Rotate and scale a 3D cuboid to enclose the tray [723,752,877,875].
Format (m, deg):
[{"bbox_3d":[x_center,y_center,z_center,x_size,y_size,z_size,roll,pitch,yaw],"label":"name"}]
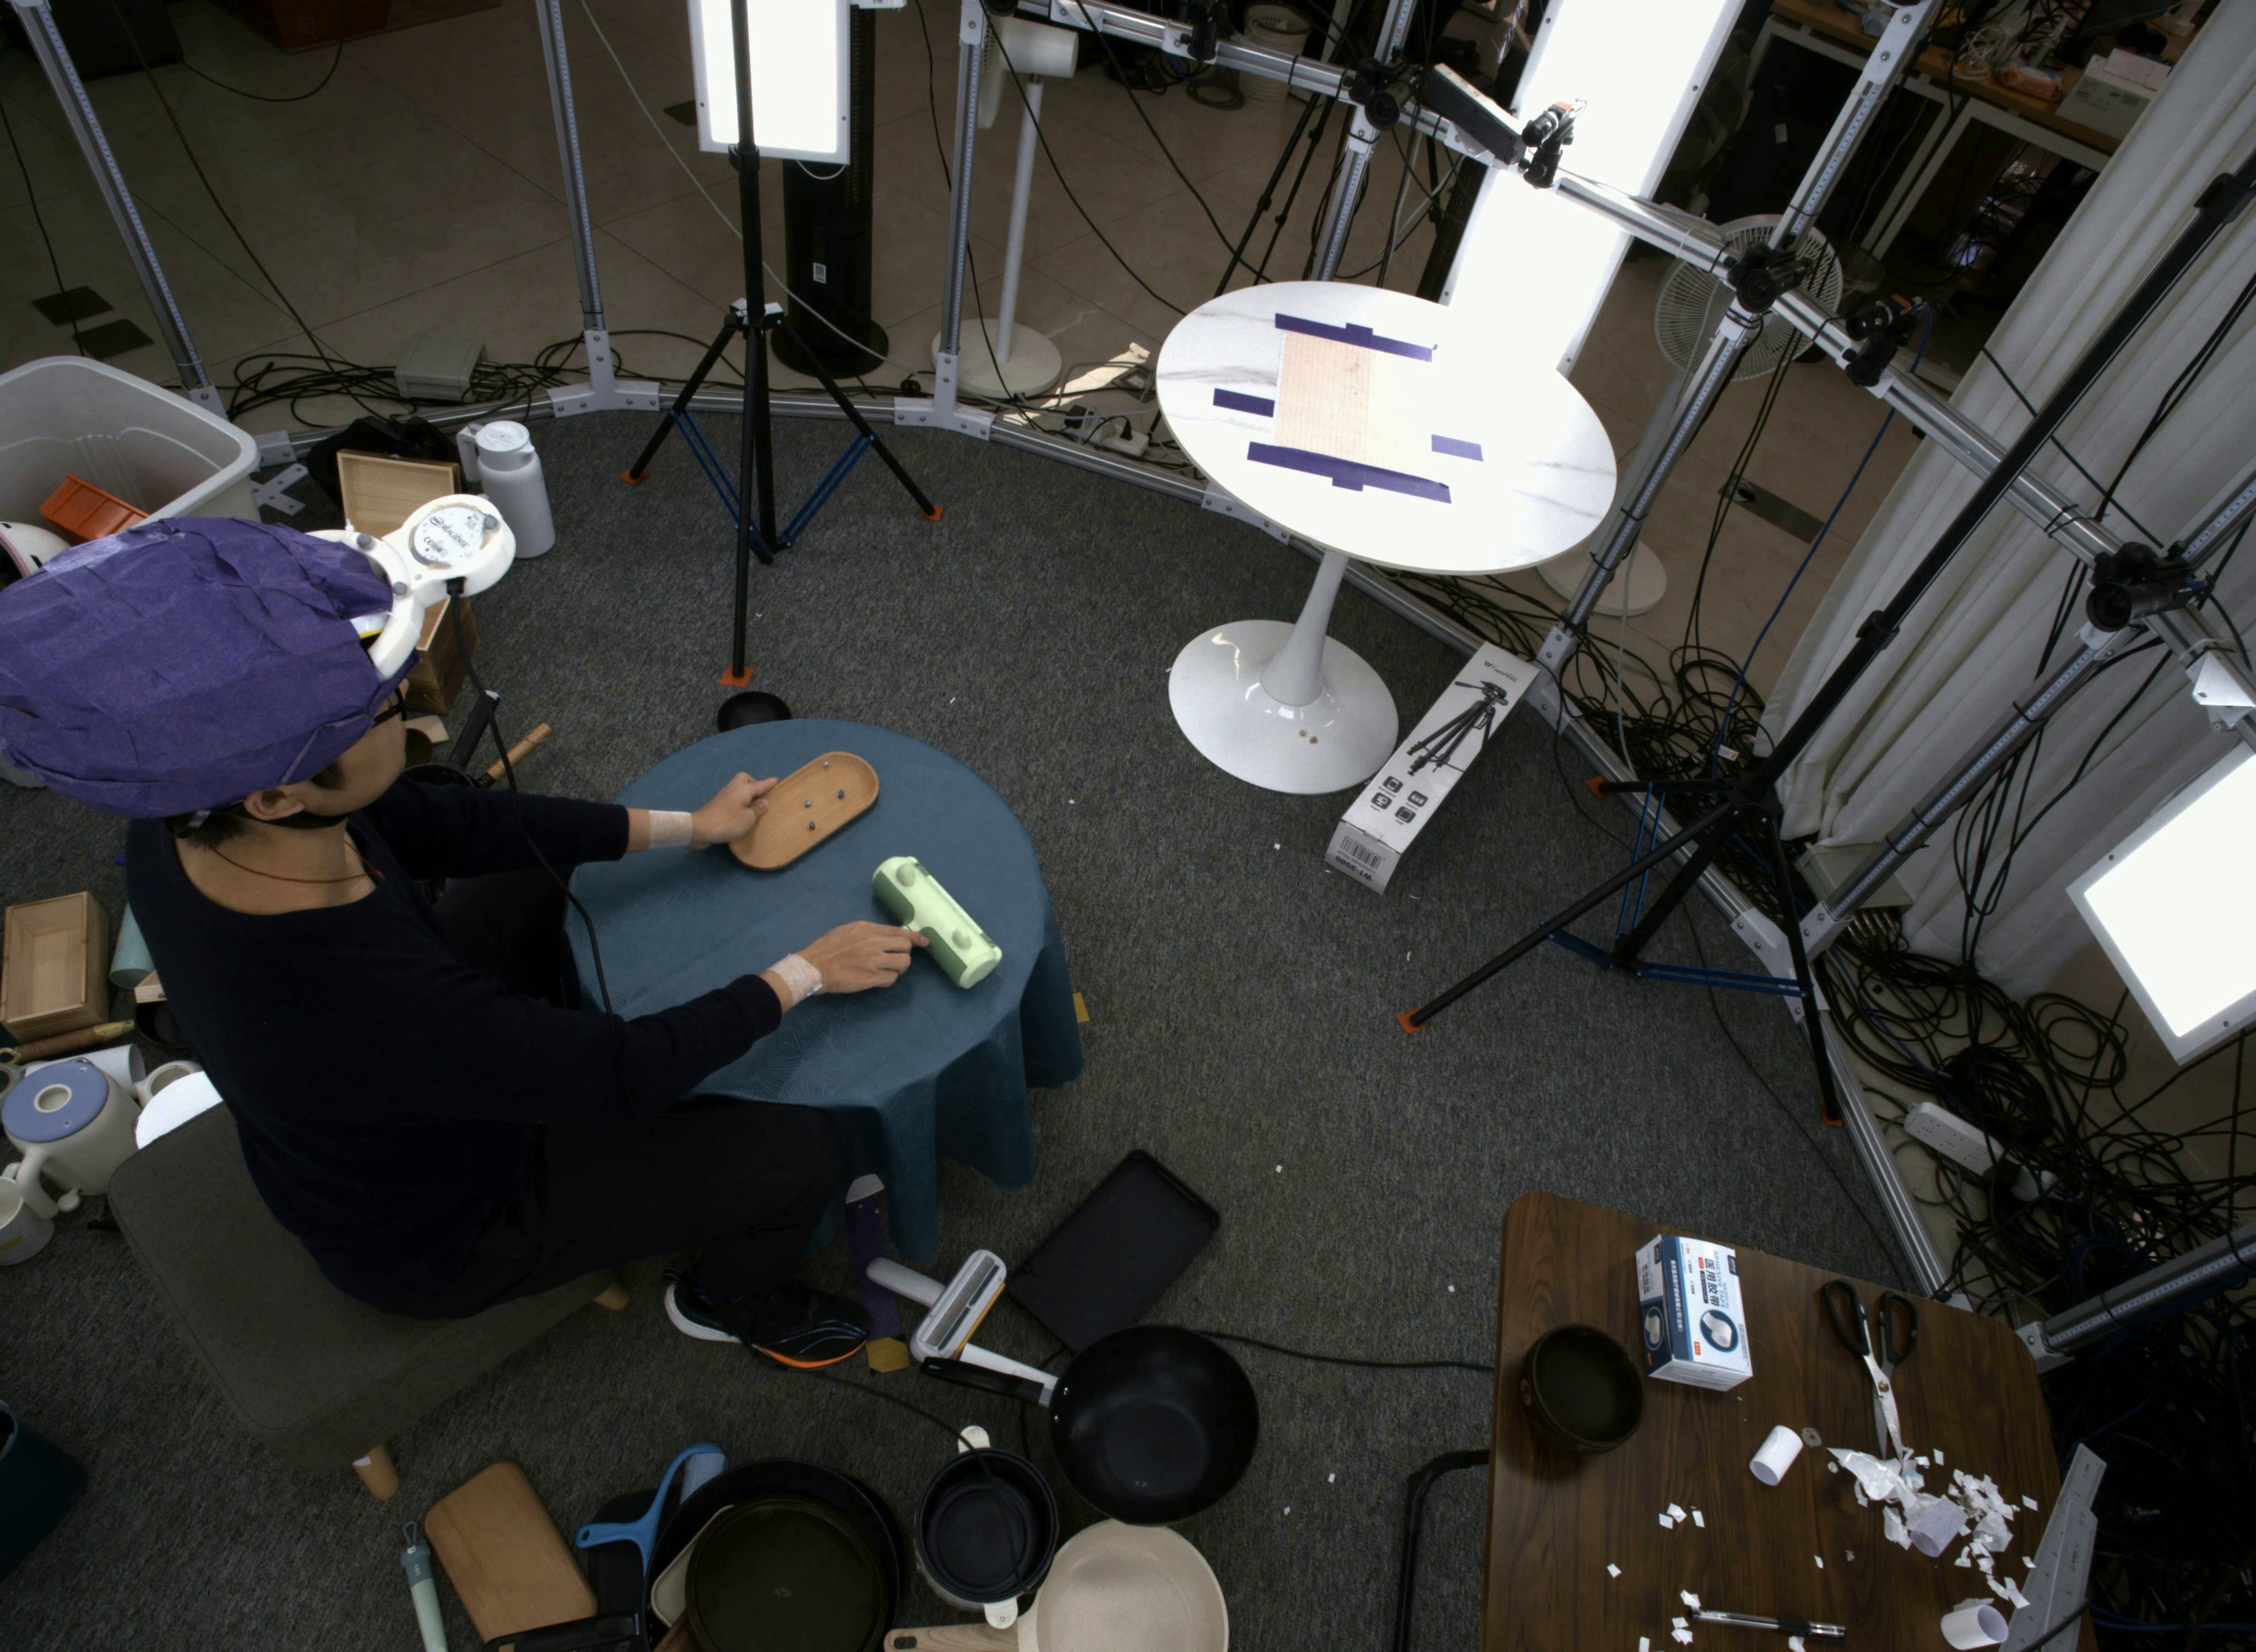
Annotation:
[{"bbox_3d":[-0.430,-0.019,1.709,0.100,0.020,0.231,43,56,8],"label":"tray"}]

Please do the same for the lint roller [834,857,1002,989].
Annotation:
[{"bbox_3d":[-0.279,0.128,1.590,0.194,0.083,0.185,43,41,20],"label":"lint roller"}]
